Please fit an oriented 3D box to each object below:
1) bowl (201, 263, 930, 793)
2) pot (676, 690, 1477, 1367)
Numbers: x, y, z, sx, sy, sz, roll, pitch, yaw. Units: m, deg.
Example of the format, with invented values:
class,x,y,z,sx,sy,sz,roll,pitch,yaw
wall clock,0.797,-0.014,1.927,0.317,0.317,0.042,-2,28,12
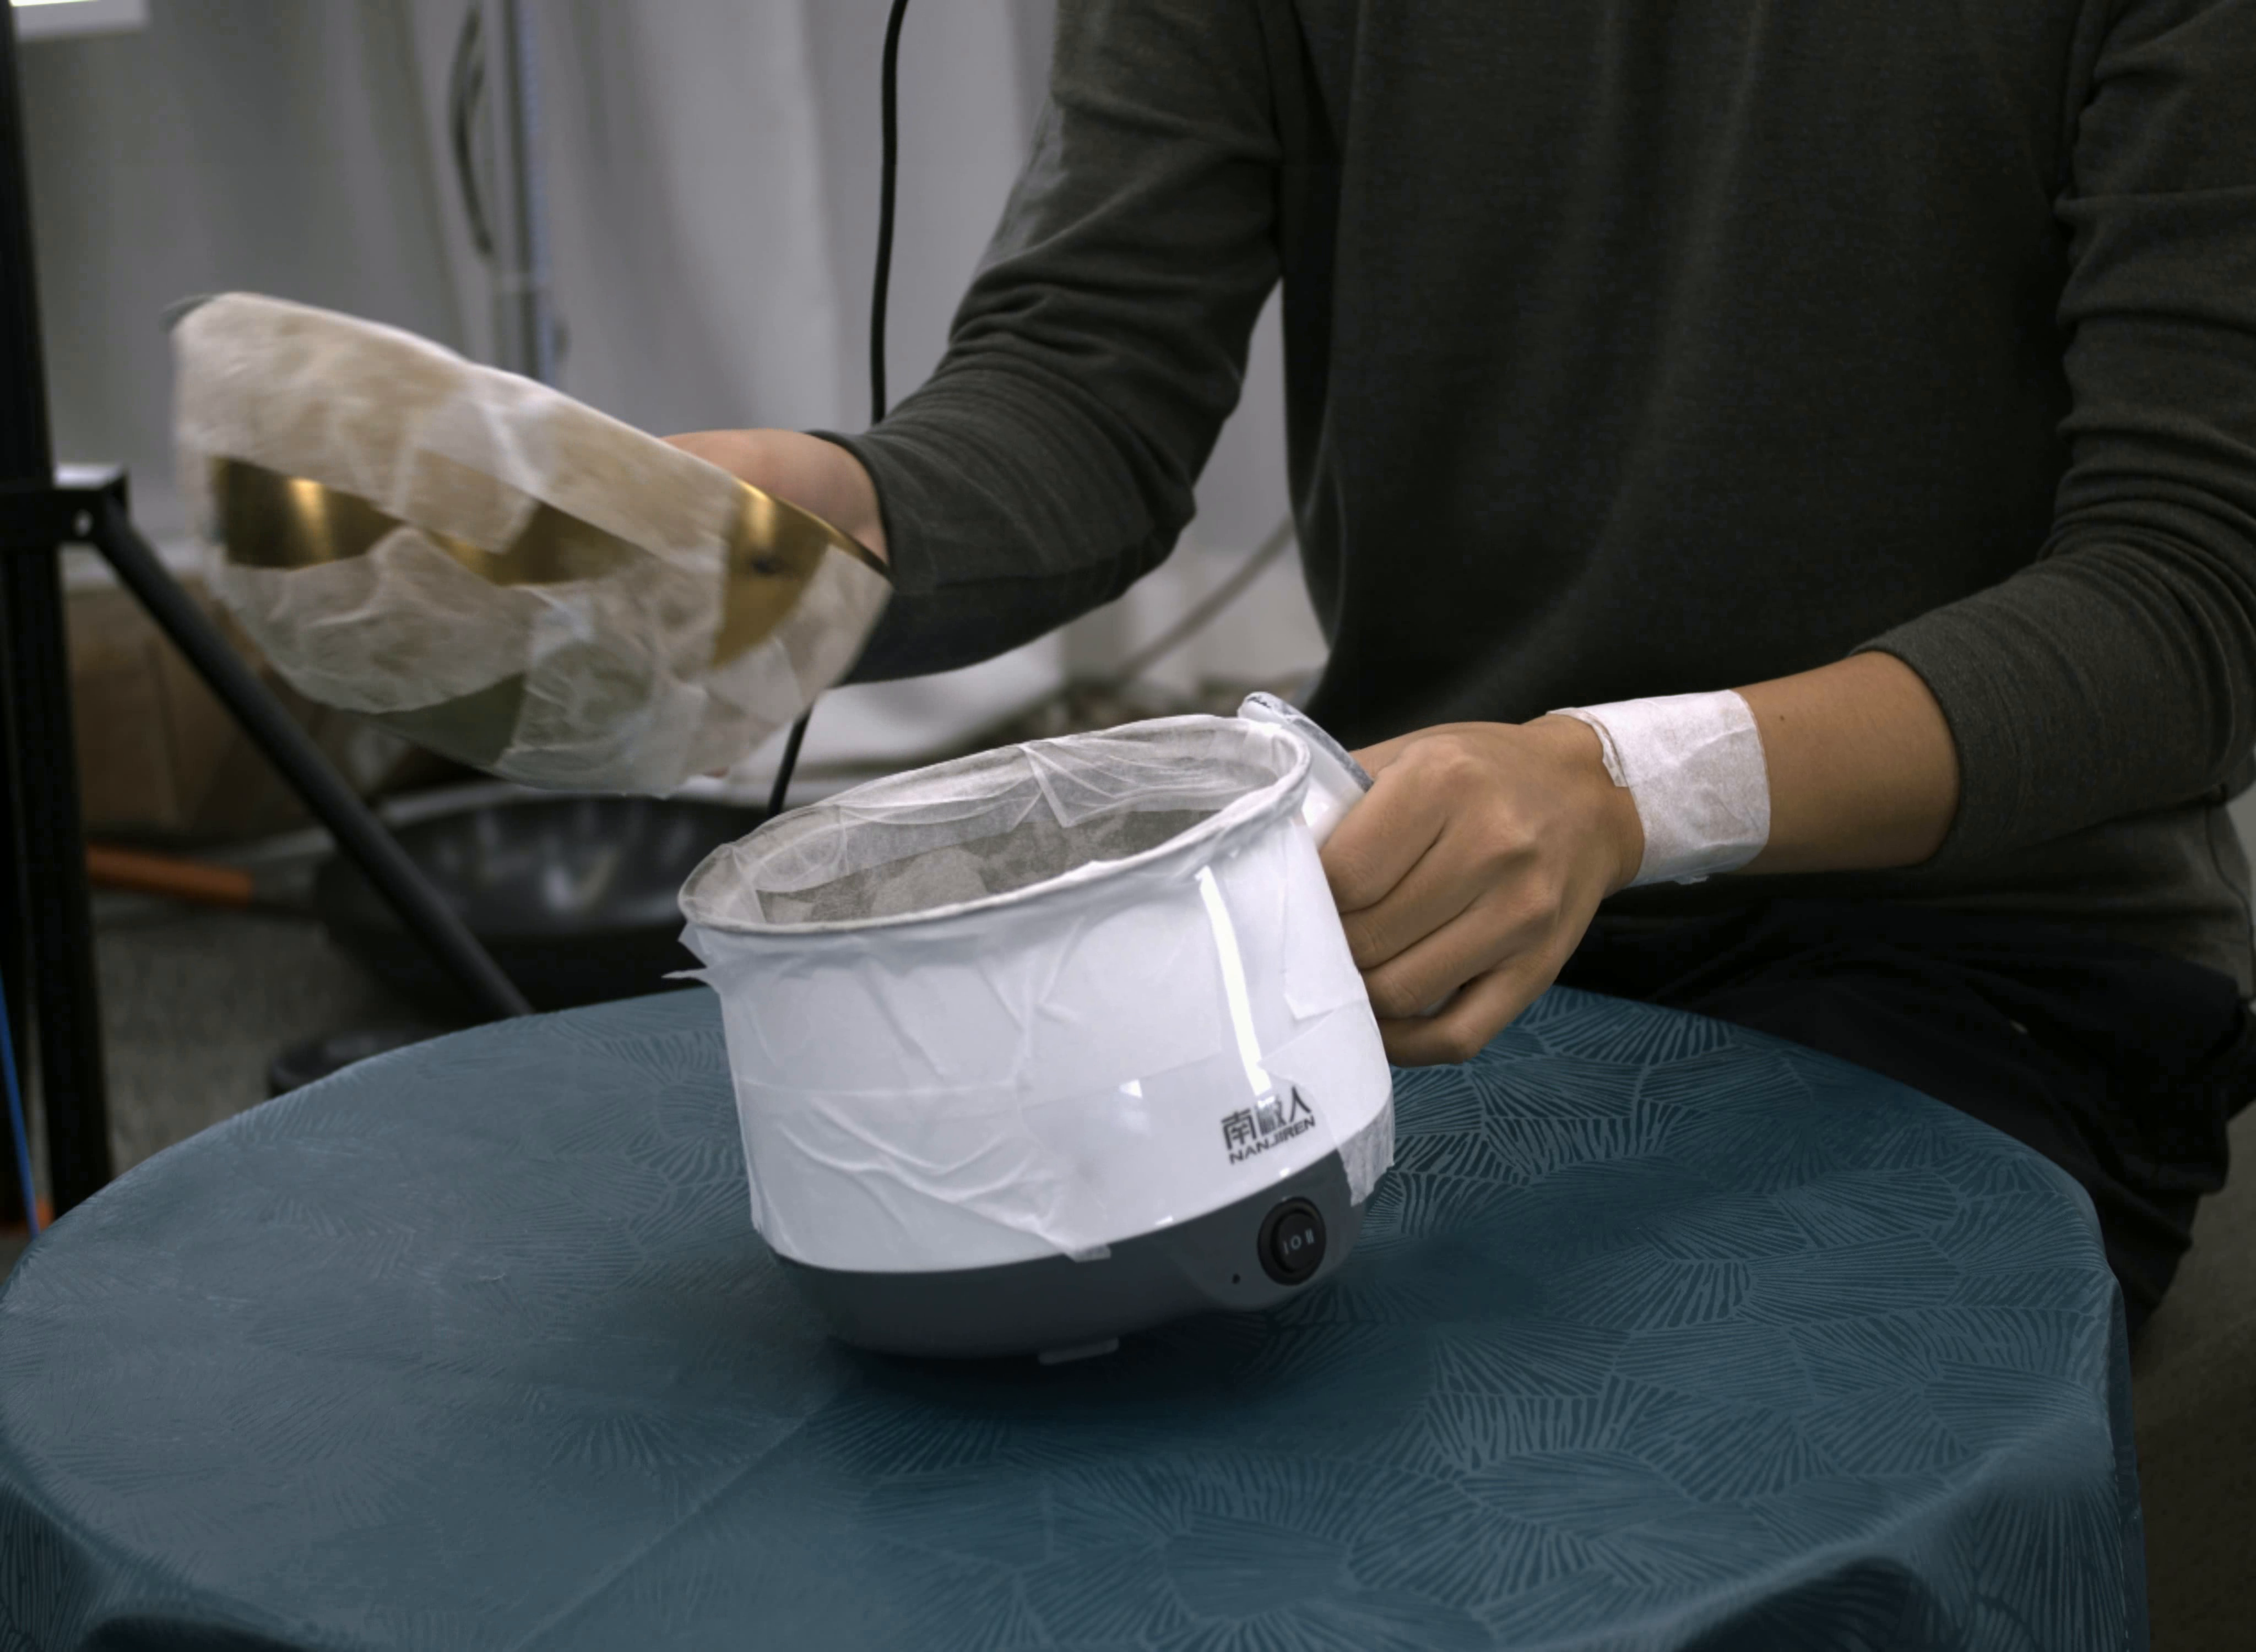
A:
class,x,y,z,sx,sy,sz,roll,pitch,yaw
bowl,-0.163,-0.065,1.439,0.214,0.095,0.214,24,-6,1
pot,-0.002,0.050,1.462,0.229,0.136,0.182,-23,16,-36
